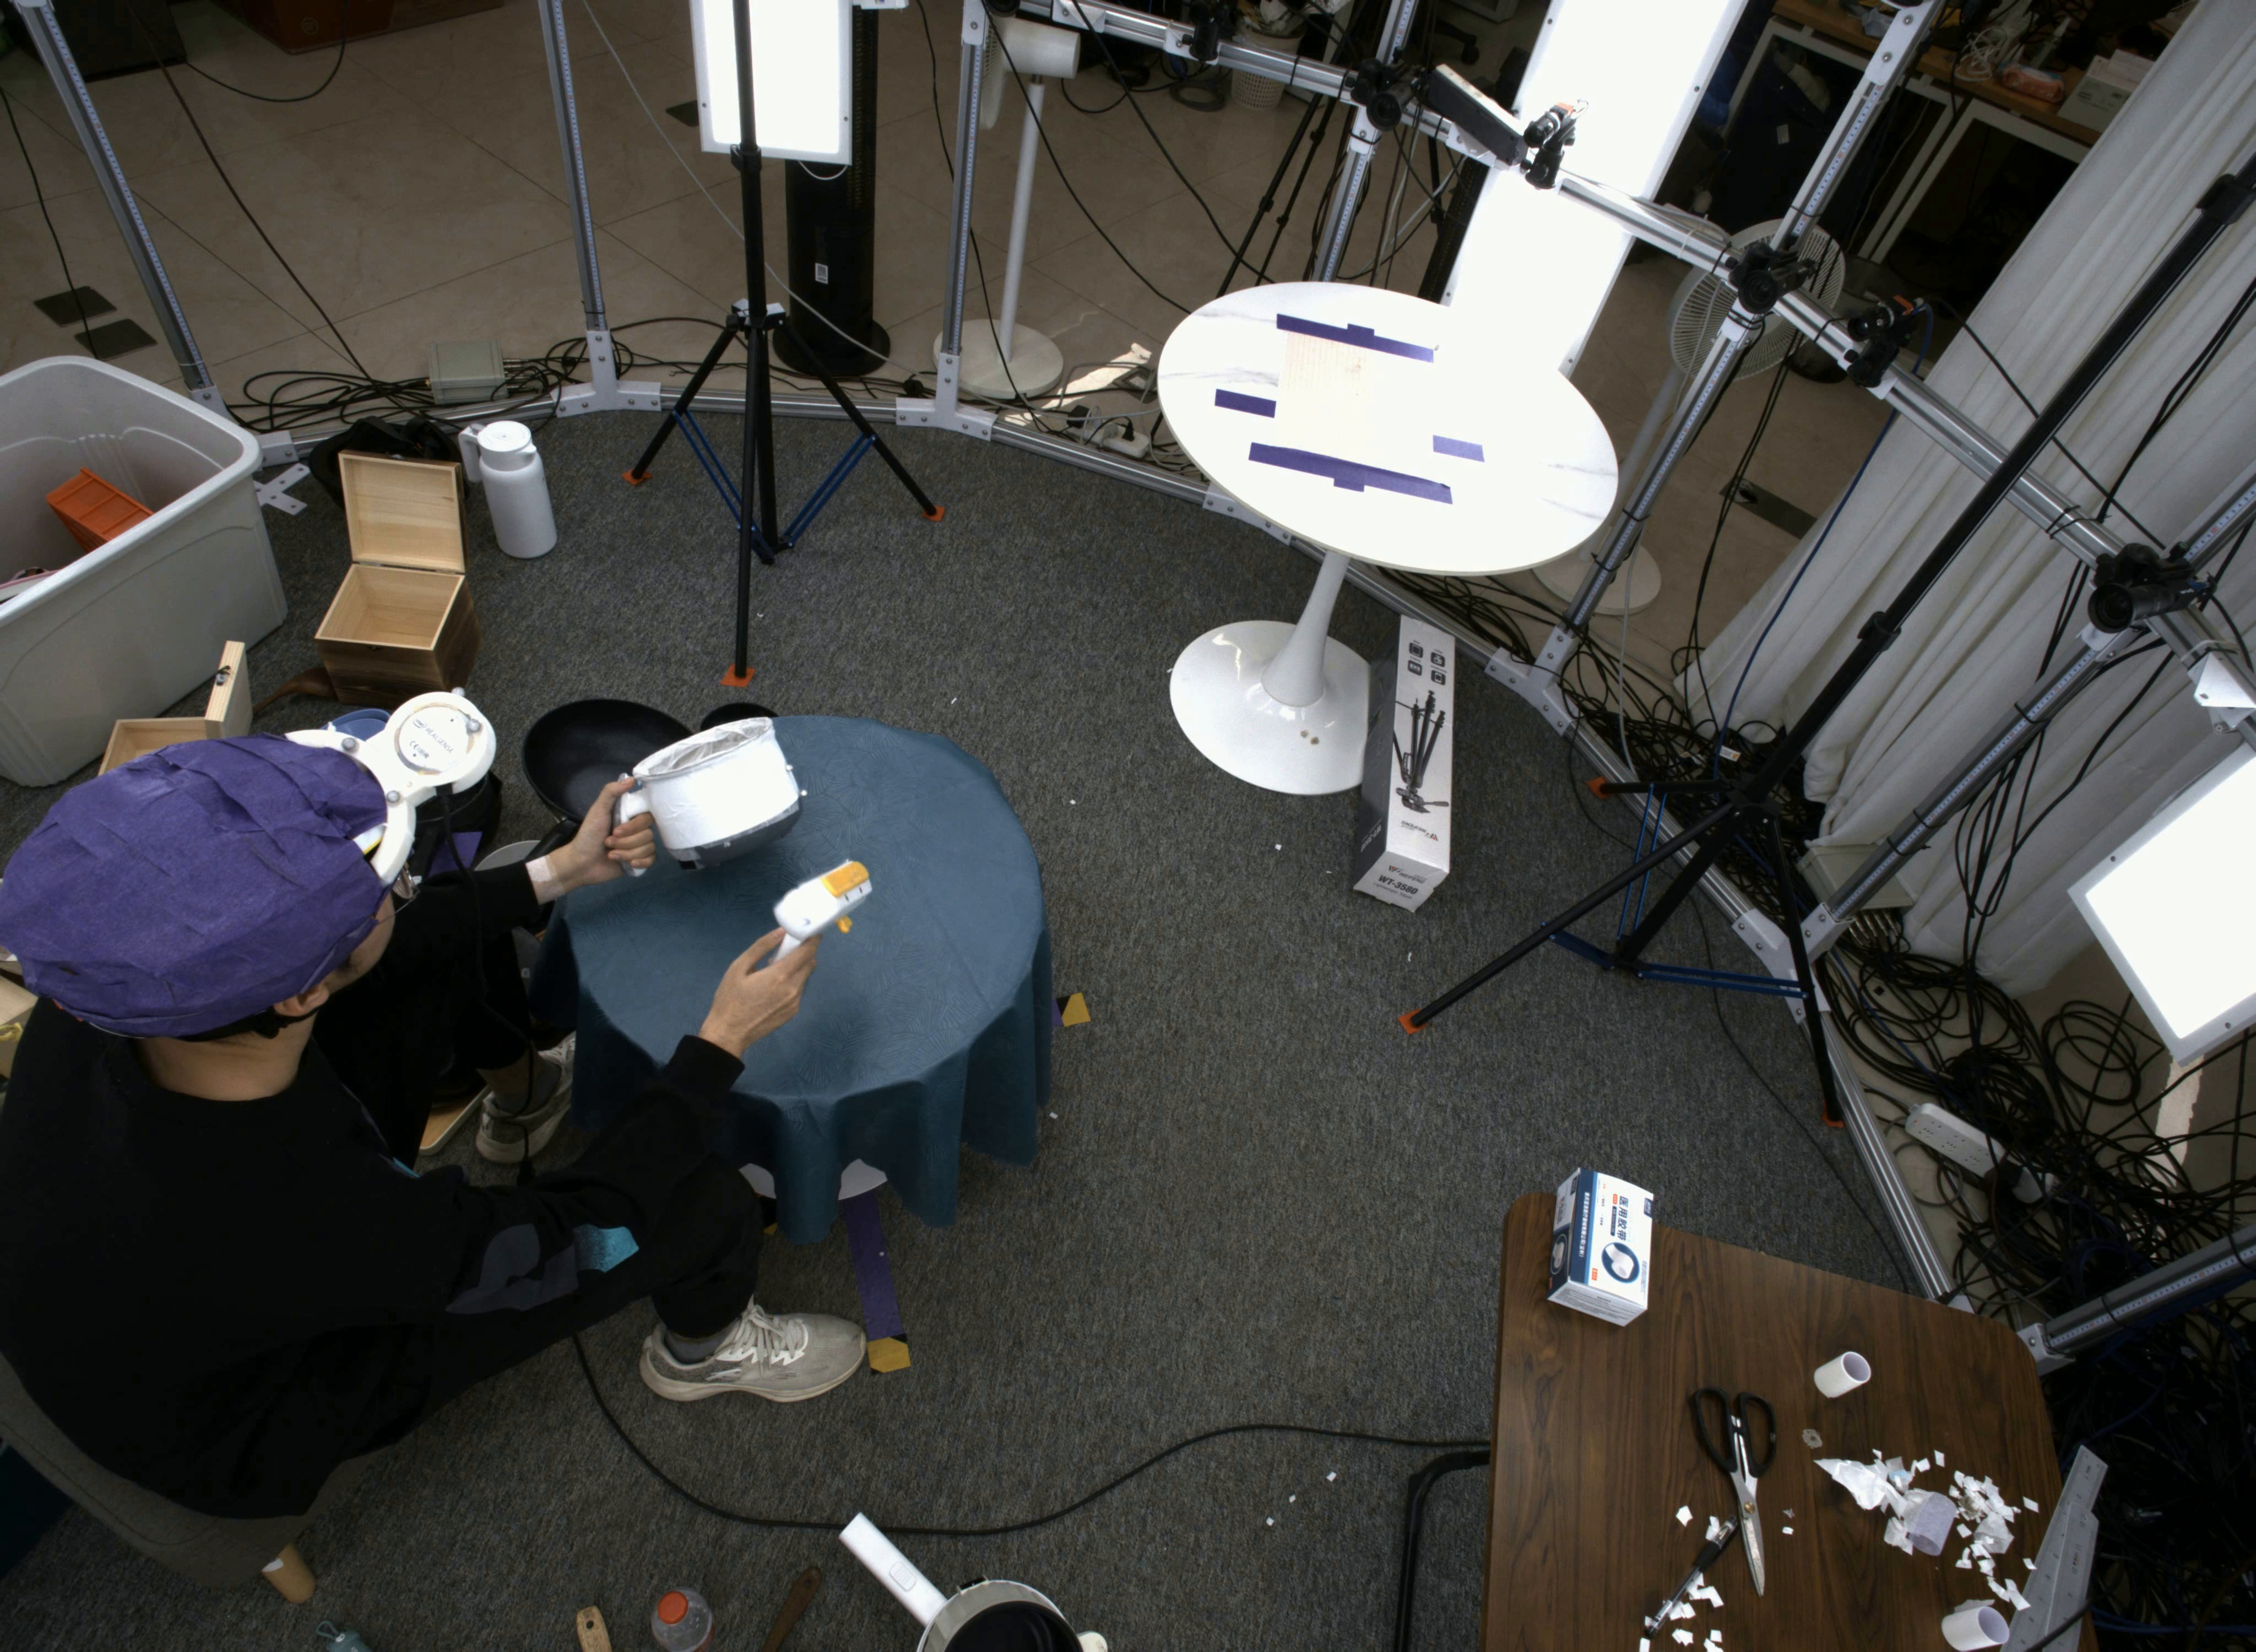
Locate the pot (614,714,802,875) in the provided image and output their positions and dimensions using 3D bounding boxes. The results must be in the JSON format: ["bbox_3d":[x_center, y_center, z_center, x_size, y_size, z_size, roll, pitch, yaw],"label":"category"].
[{"bbox_3d":[-0.524,-0.034,1.579,0.234,0.141,0.173,-25,20,-22],"label":"pot"}]

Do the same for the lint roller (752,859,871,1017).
[{"bbox_3d":[-0.374,0.128,1.458,0.075,0.192,0.190,42,11,-8],"label":"lint roller"}]
